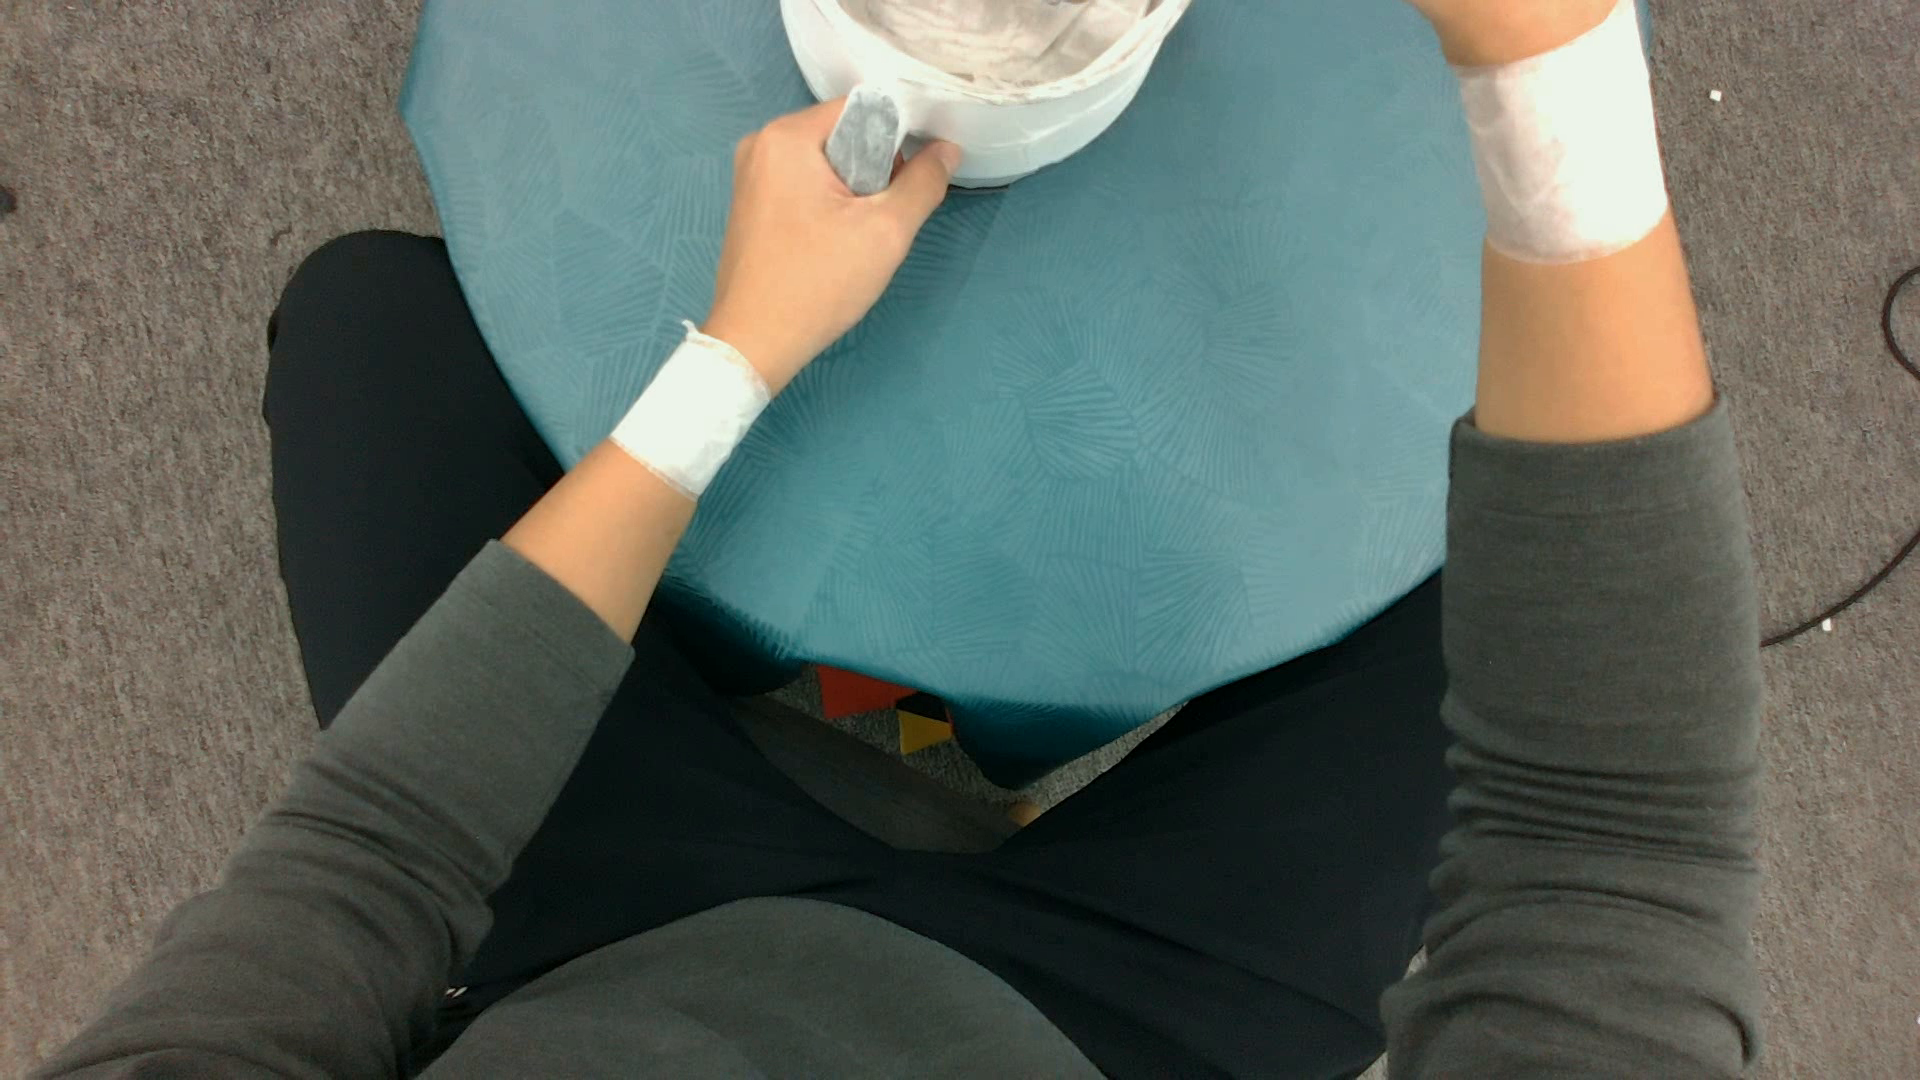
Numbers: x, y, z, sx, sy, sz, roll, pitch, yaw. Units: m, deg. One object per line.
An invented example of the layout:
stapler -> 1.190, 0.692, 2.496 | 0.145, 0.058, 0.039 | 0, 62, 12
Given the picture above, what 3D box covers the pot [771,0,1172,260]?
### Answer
pot -> -0.008, -0.234, 0.595 | 0.179, 0.136, 0.234 | 27, 86, -4
